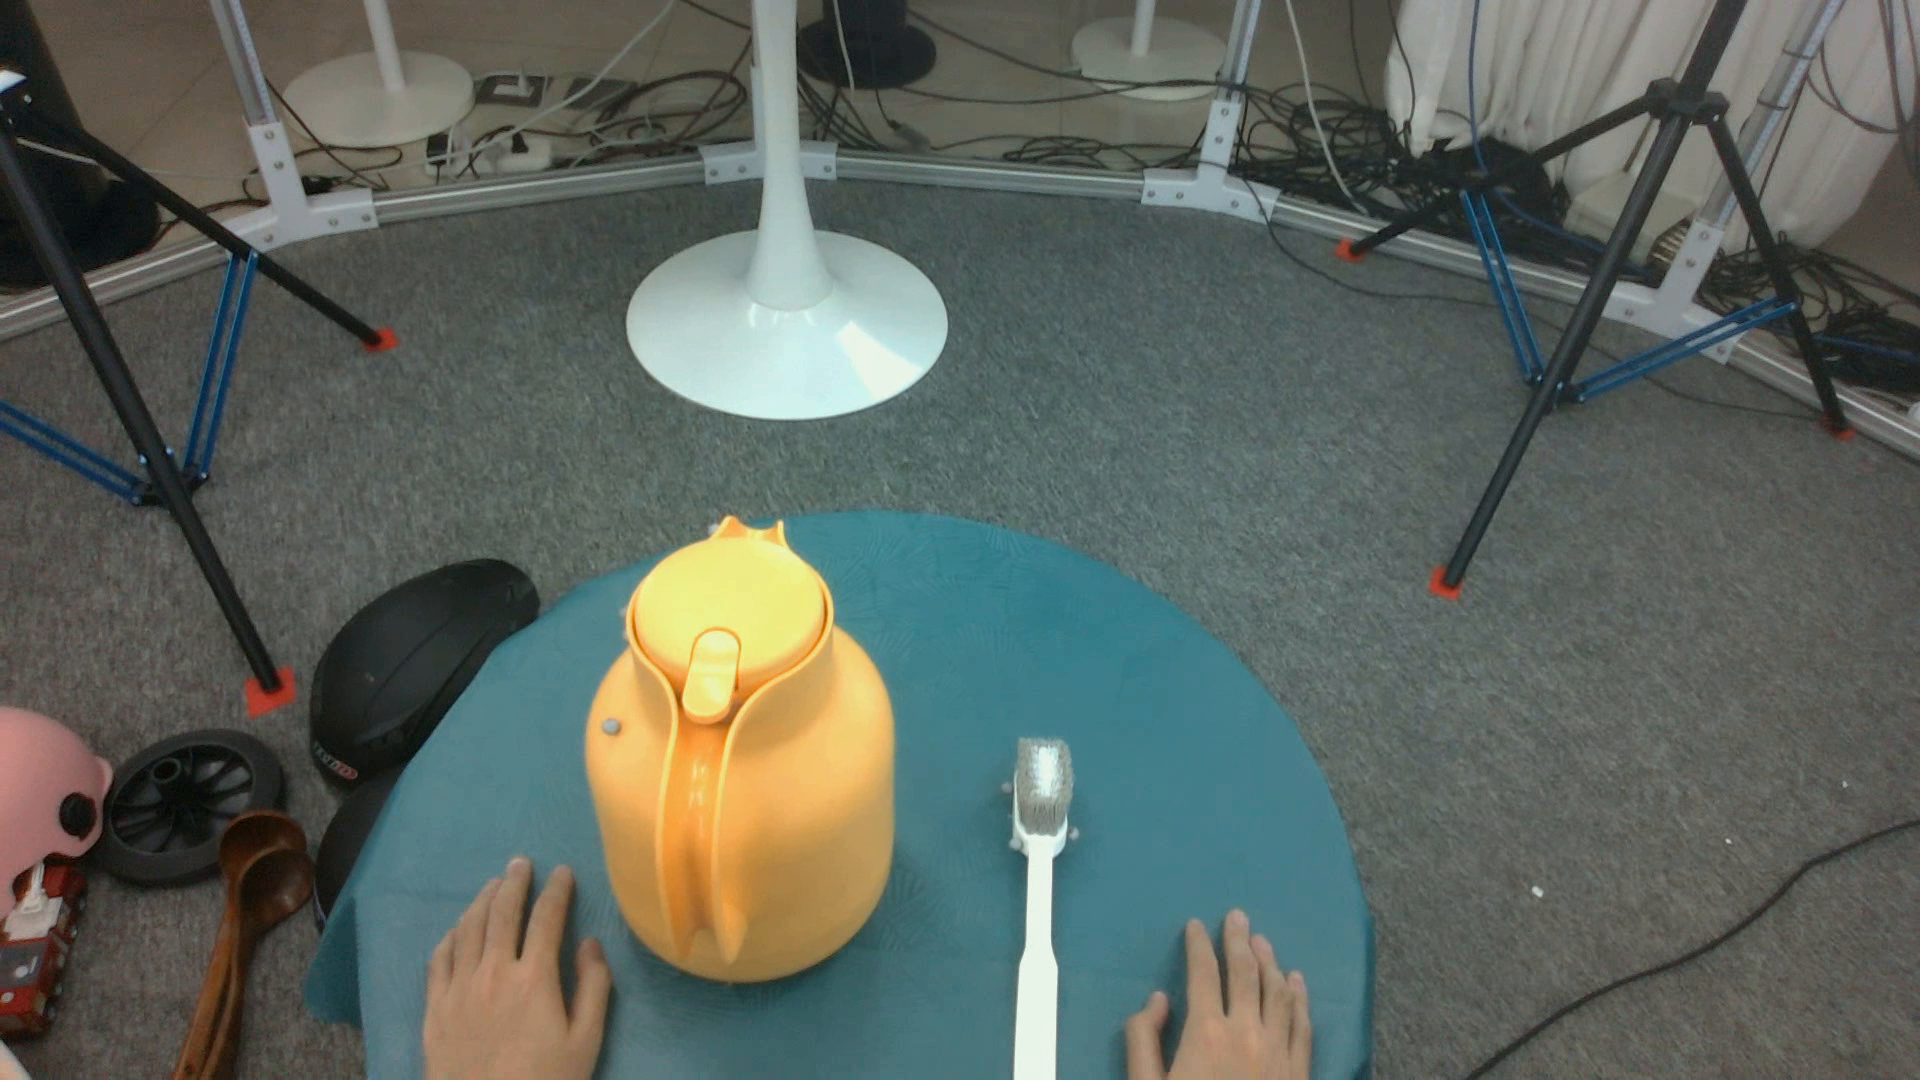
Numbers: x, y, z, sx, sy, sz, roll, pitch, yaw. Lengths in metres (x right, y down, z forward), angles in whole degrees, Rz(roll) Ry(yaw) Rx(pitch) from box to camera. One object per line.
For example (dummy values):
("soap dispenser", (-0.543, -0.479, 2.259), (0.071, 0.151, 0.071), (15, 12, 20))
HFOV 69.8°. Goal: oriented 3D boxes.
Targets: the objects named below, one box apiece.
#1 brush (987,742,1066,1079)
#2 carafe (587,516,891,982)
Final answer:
("brush", (0.038, 0.222, 0.807), (0.034, 0.050, 0.245), (10, 45, -2))
("carafe", (-0.122, 0.129, 0.735), (0.163, 0.259, 0.203), (4, 44, 2))
